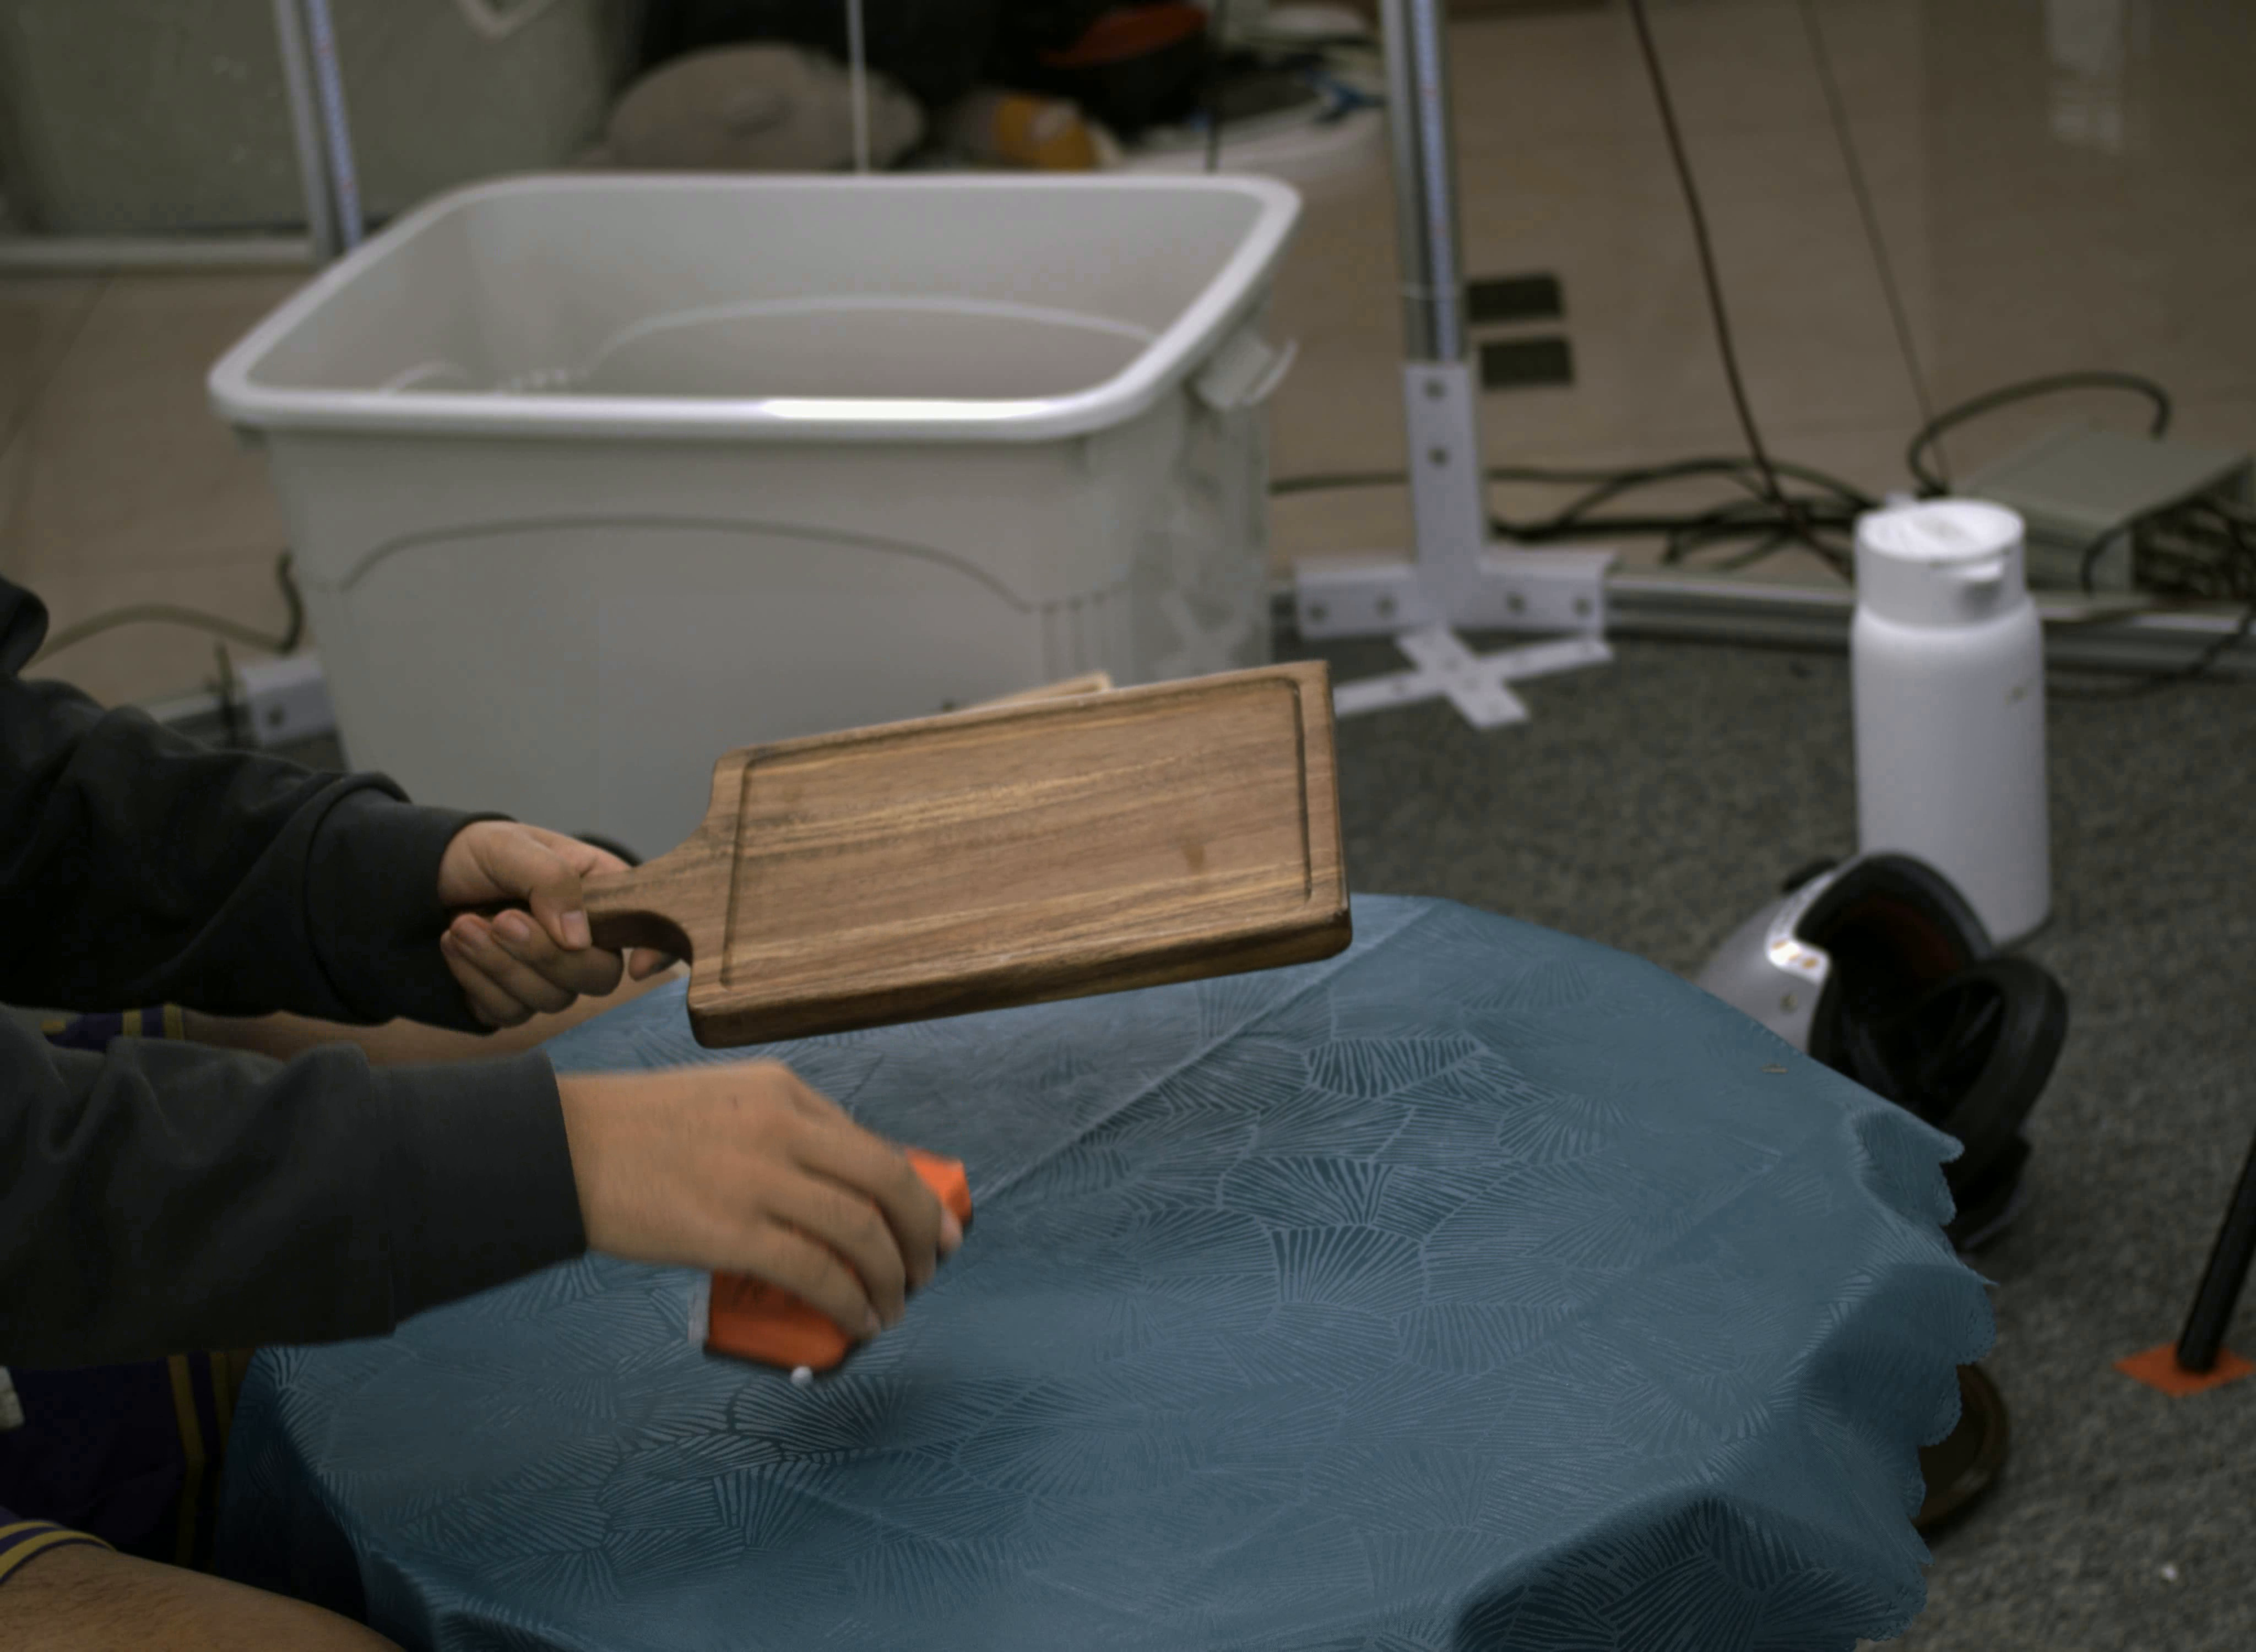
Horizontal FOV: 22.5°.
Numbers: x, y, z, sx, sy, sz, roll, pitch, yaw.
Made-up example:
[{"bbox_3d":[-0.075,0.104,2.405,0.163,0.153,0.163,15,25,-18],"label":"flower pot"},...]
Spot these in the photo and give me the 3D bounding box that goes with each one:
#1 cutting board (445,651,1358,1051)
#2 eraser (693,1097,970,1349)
[{"bbox_3d":[-0.090,0.015,2.180,0.352,0.023,0.197,-9,32,5],"label":"cutting board"},{"bbox_3d":[-0.104,0.139,2.000,0.058,0.023,0.106,13,41,27],"label":"eraser"}]
